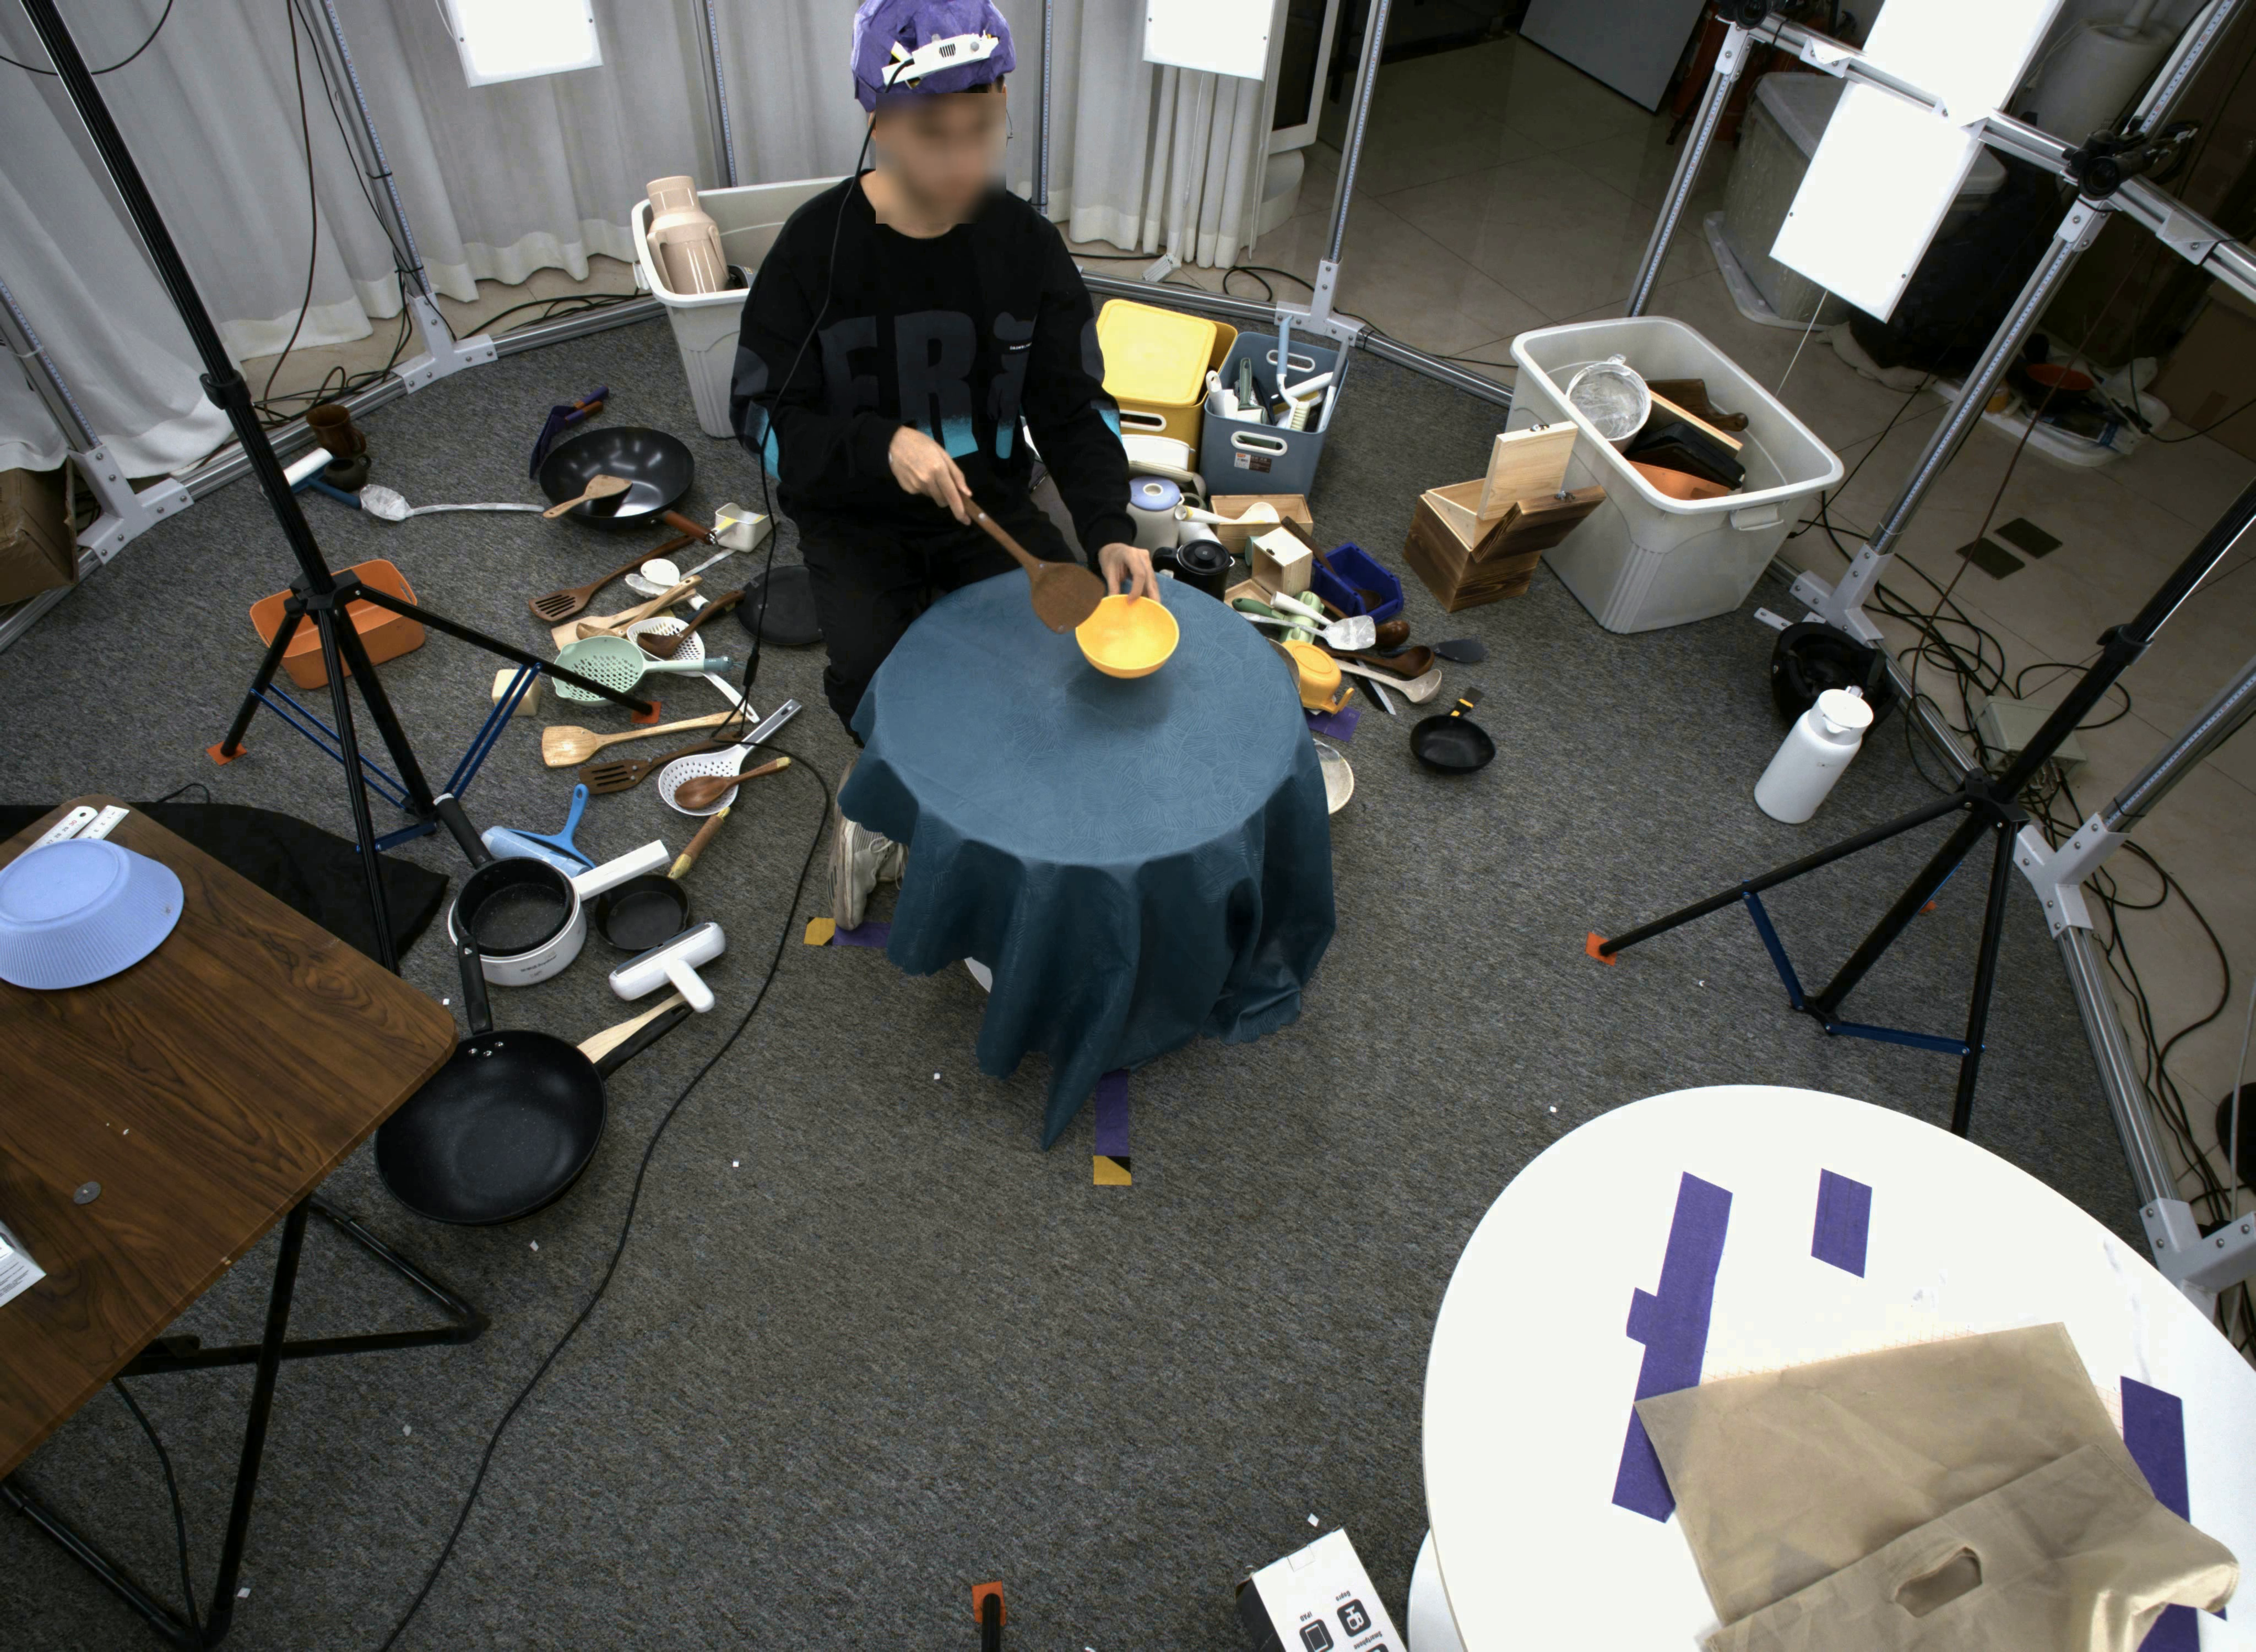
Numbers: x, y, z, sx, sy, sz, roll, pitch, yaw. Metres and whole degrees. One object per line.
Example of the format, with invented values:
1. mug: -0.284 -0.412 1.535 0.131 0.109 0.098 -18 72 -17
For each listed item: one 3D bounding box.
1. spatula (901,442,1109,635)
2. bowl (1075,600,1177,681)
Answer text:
1. spatula: -0.182 -0.410 1.784 0.390 0.015 0.096 44 88 15
2. bowl: -0.005 -0.254 1.835 0.145 0.058 0.149 2 50 -3
